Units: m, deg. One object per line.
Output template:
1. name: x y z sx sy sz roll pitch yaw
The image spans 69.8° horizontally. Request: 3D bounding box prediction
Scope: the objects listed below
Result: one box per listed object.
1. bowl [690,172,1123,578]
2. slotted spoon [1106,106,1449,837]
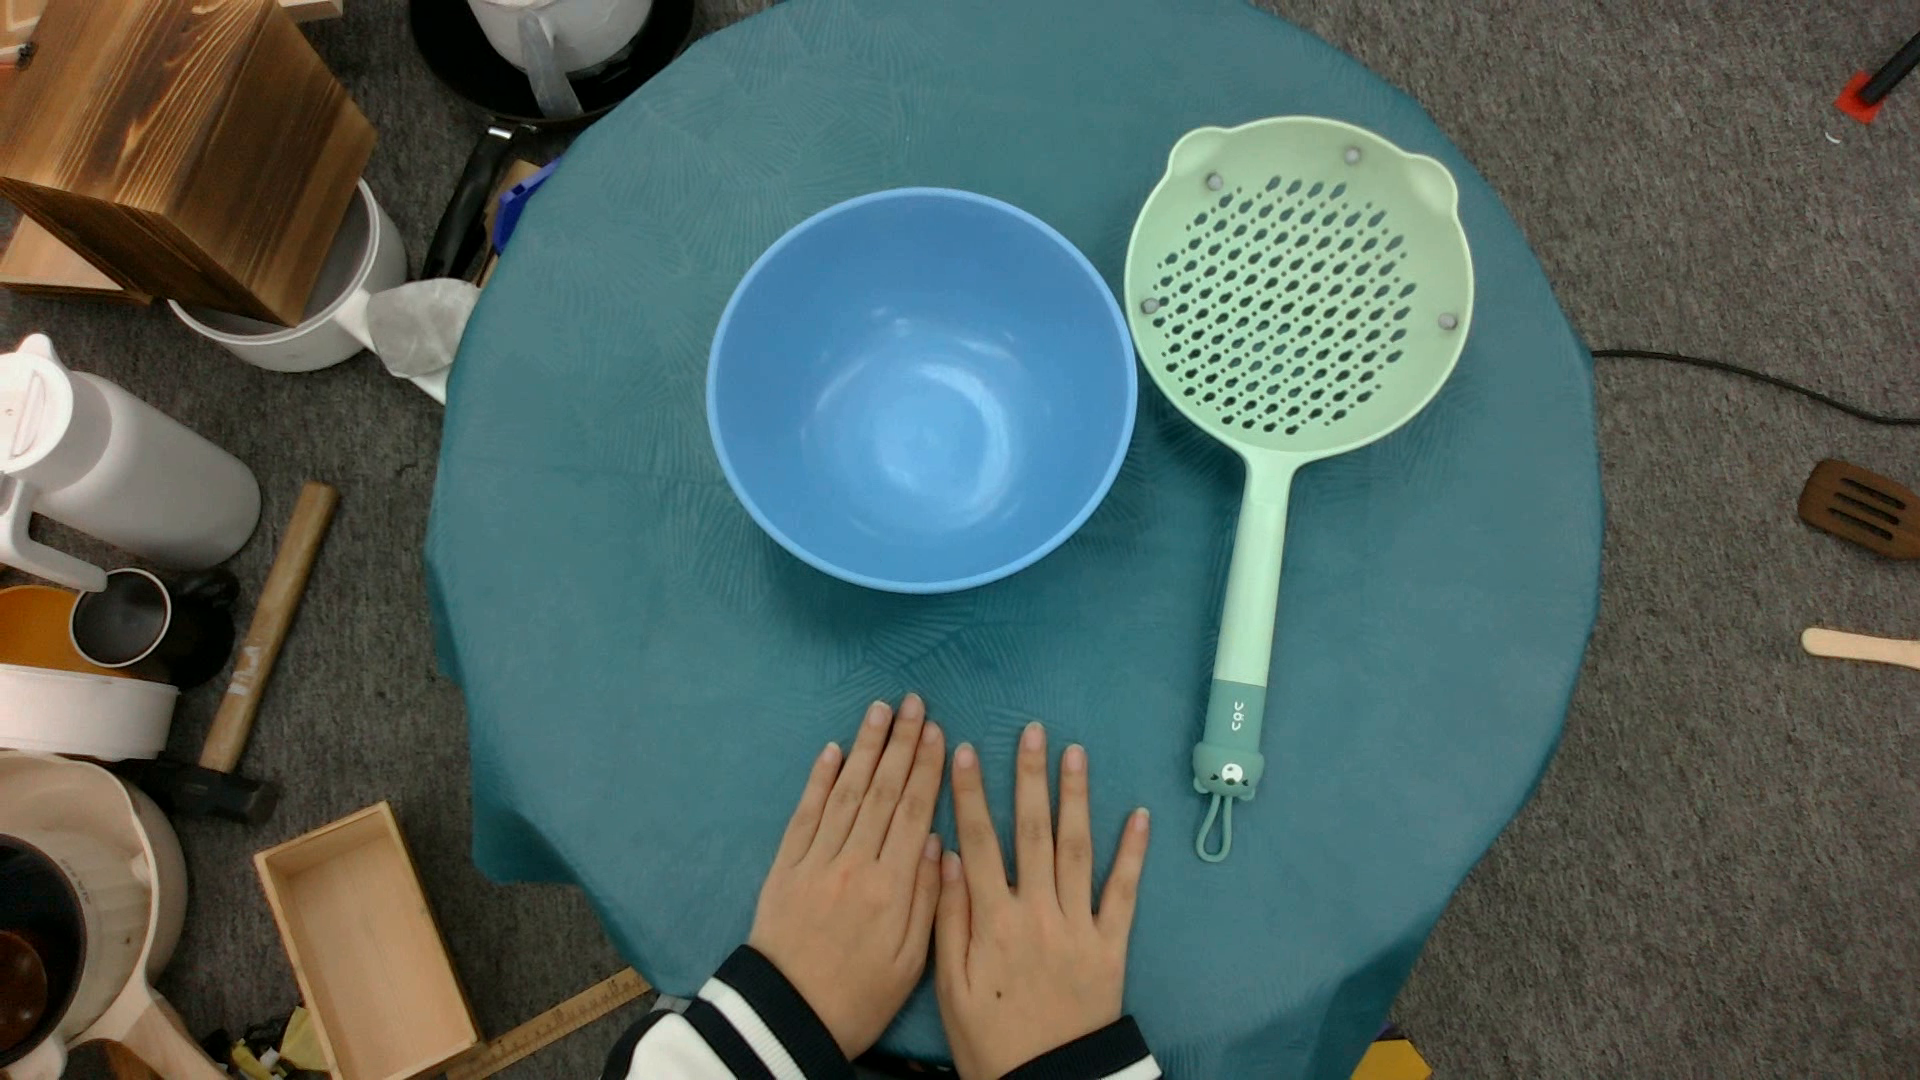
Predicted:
1. bowl: -0.024 -0.067 0.667 0.196 0.095 0.197 0 75 -1
2. slotted spoon: 0.141 -0.035 0.680 0.169 0.075 0.359 9 77 3
